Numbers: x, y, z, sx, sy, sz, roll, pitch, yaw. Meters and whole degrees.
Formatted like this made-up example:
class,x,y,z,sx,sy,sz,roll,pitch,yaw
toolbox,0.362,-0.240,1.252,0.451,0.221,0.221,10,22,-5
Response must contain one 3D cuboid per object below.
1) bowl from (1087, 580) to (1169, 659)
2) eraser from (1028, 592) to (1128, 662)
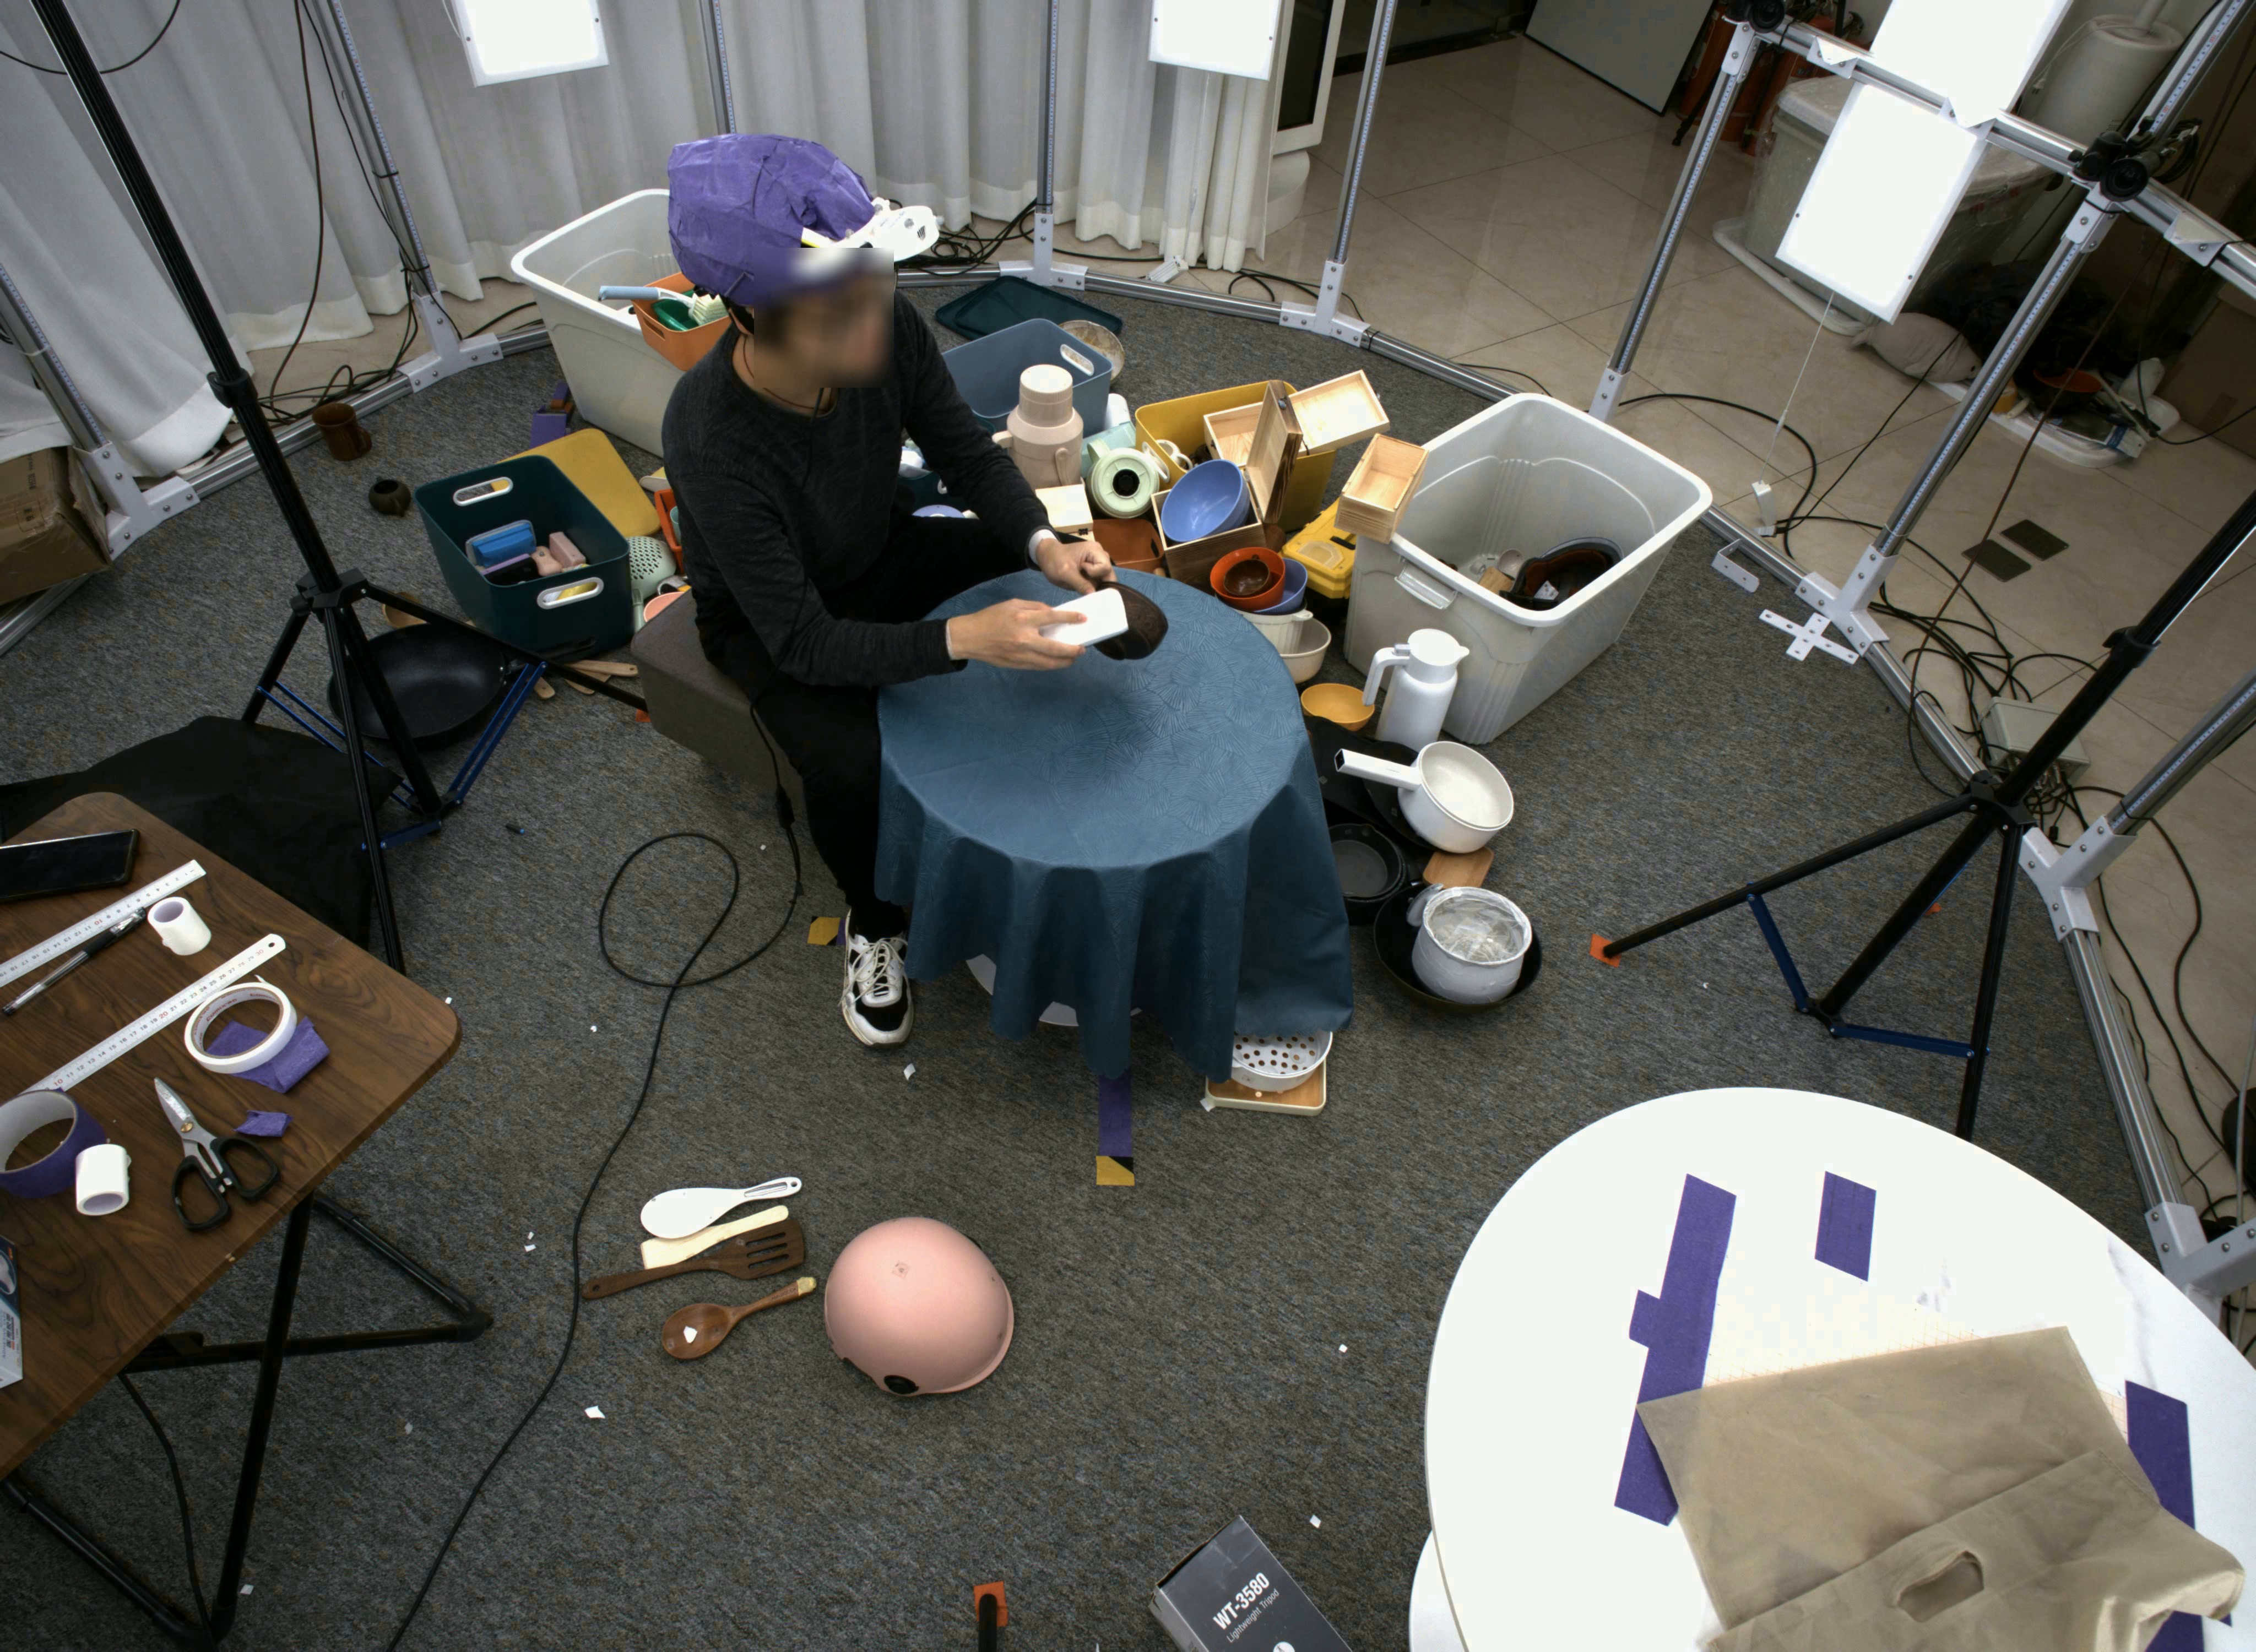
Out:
class,x,y,z,sx,sy,sz,roll,pitch,yaw
bowl,-0.011,-0.272,1.753,0.119,0.116,0.070,26,72,16
eraser,-0.066,-0.263,1.694,0.131,0.034,0.064,-16,73,11
